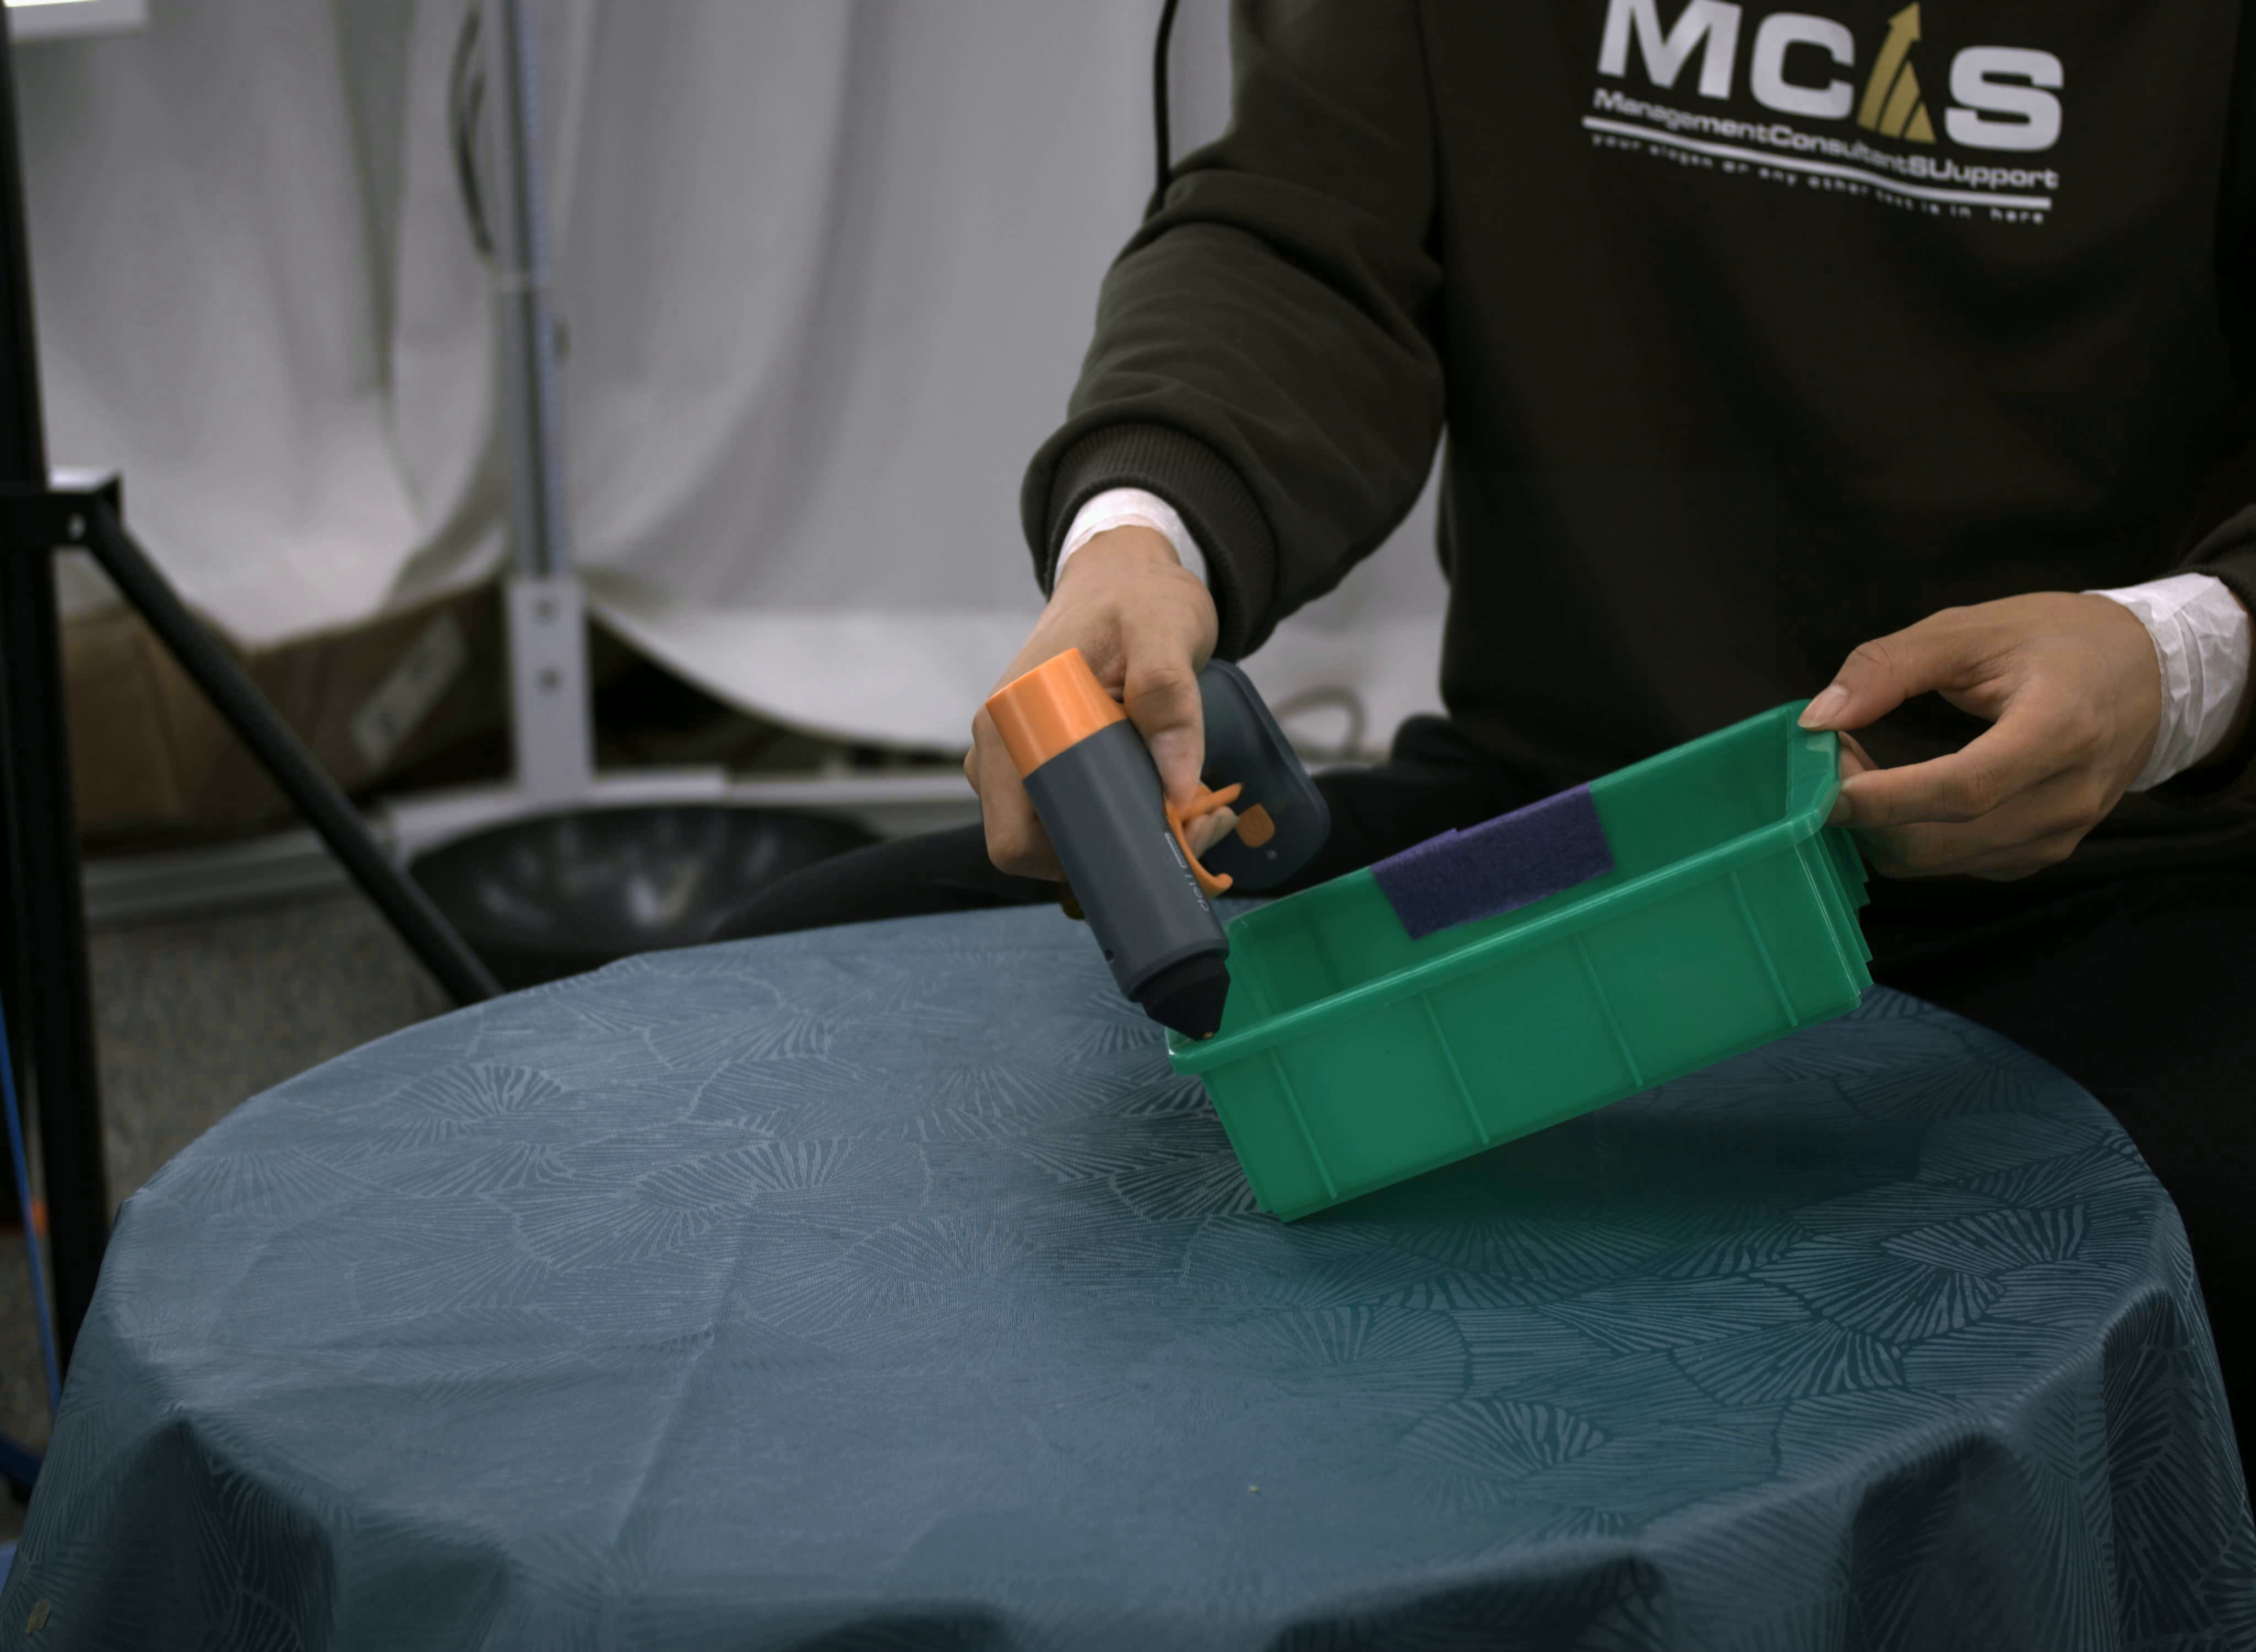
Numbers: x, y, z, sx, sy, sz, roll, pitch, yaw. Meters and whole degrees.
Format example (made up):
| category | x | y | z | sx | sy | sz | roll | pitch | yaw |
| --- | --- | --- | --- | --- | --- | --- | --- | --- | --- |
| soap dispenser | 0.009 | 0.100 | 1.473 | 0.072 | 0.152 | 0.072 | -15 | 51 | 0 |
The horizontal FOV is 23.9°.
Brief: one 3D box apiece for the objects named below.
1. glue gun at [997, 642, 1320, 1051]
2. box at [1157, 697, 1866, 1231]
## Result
| category | x | y | z | sx | sy | sz | roll | pitch | yaw |
| --- | --- | --- | --- | --- | --- | --- | --- | --- | --- |
| glue gun | 0.012 | 0.000 | 1.570 | 0.041 | 0.118 | 0.138 | -27 | 1 | 23 |
| box | 0.118 | 0.042 | 1.551 | 0.211 | 0.065 | 0.138 | -23 | 11 | 12 |
